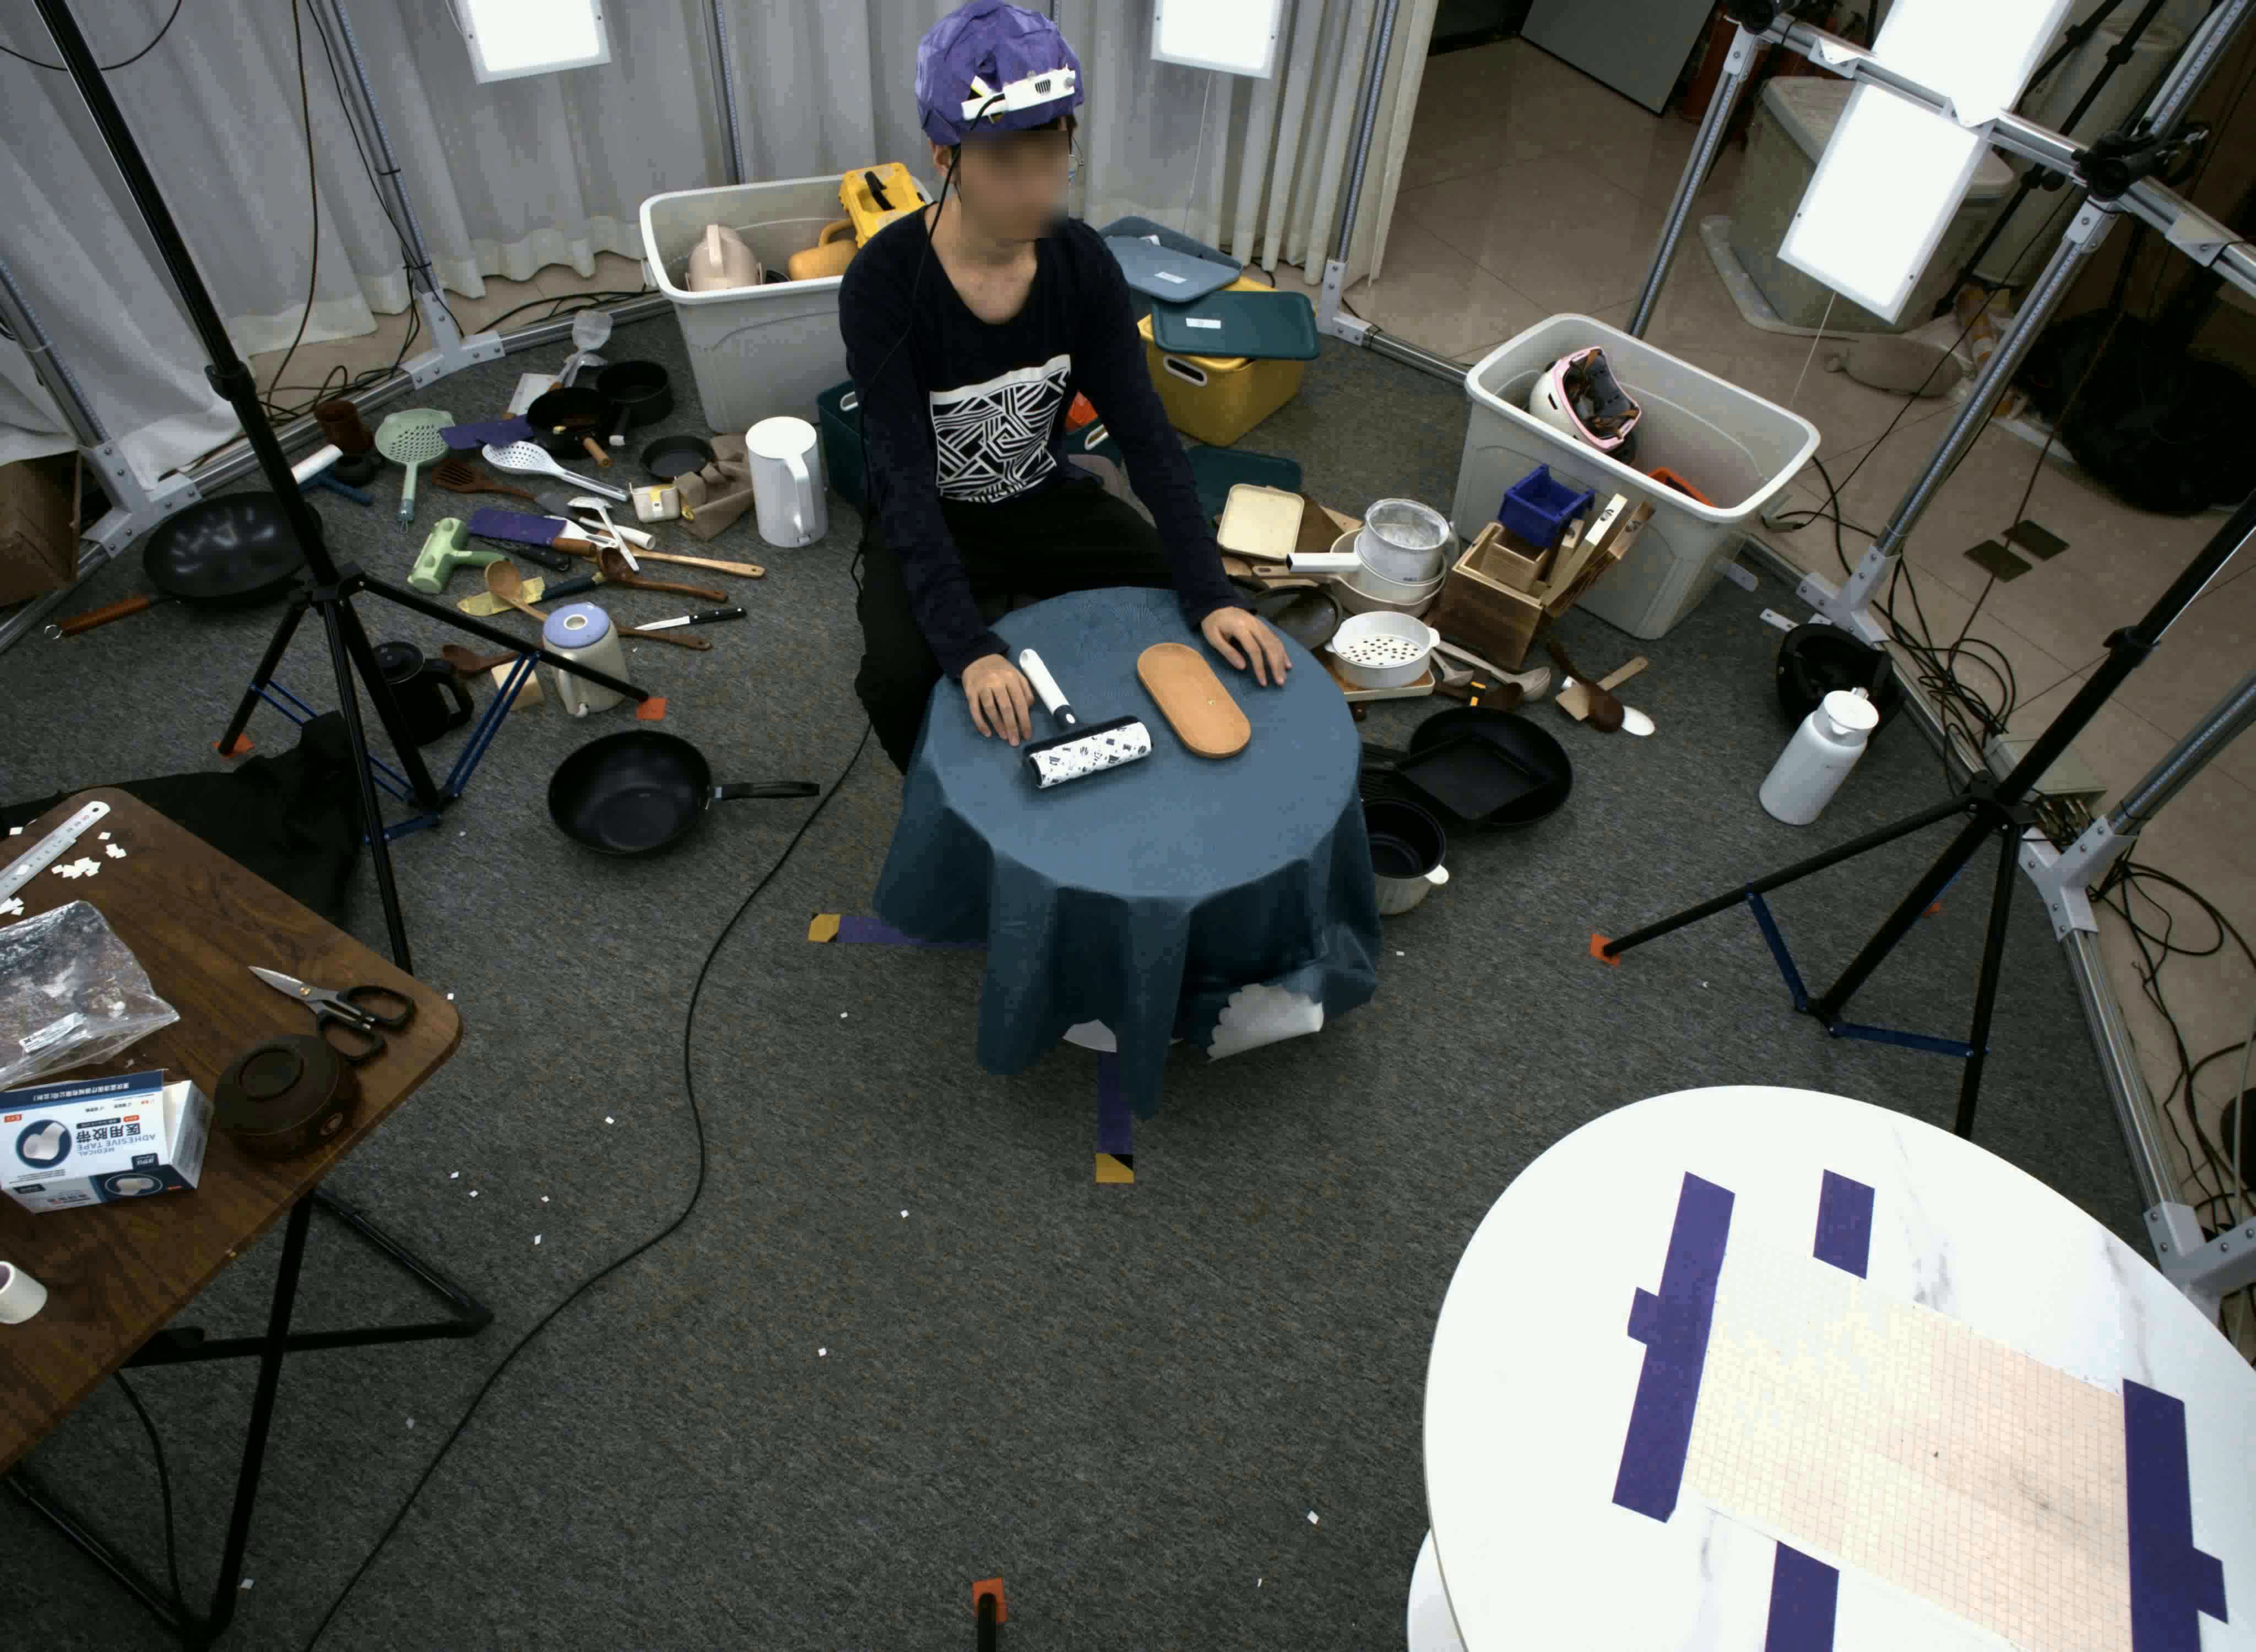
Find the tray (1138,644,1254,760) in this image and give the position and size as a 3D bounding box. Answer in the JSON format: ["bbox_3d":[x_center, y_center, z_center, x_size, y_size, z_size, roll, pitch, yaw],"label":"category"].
[{"bbox_3d":[0.094,-0.178,1.818,0.102,0.020,0.236,-19,54,-17],"label":"tray"}]

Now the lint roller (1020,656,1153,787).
[{"bbox_3d":[-0.096,-0.164,1.778,0.176,0.049,0.253,-19,50,-18],"label":"lint roller"}]
